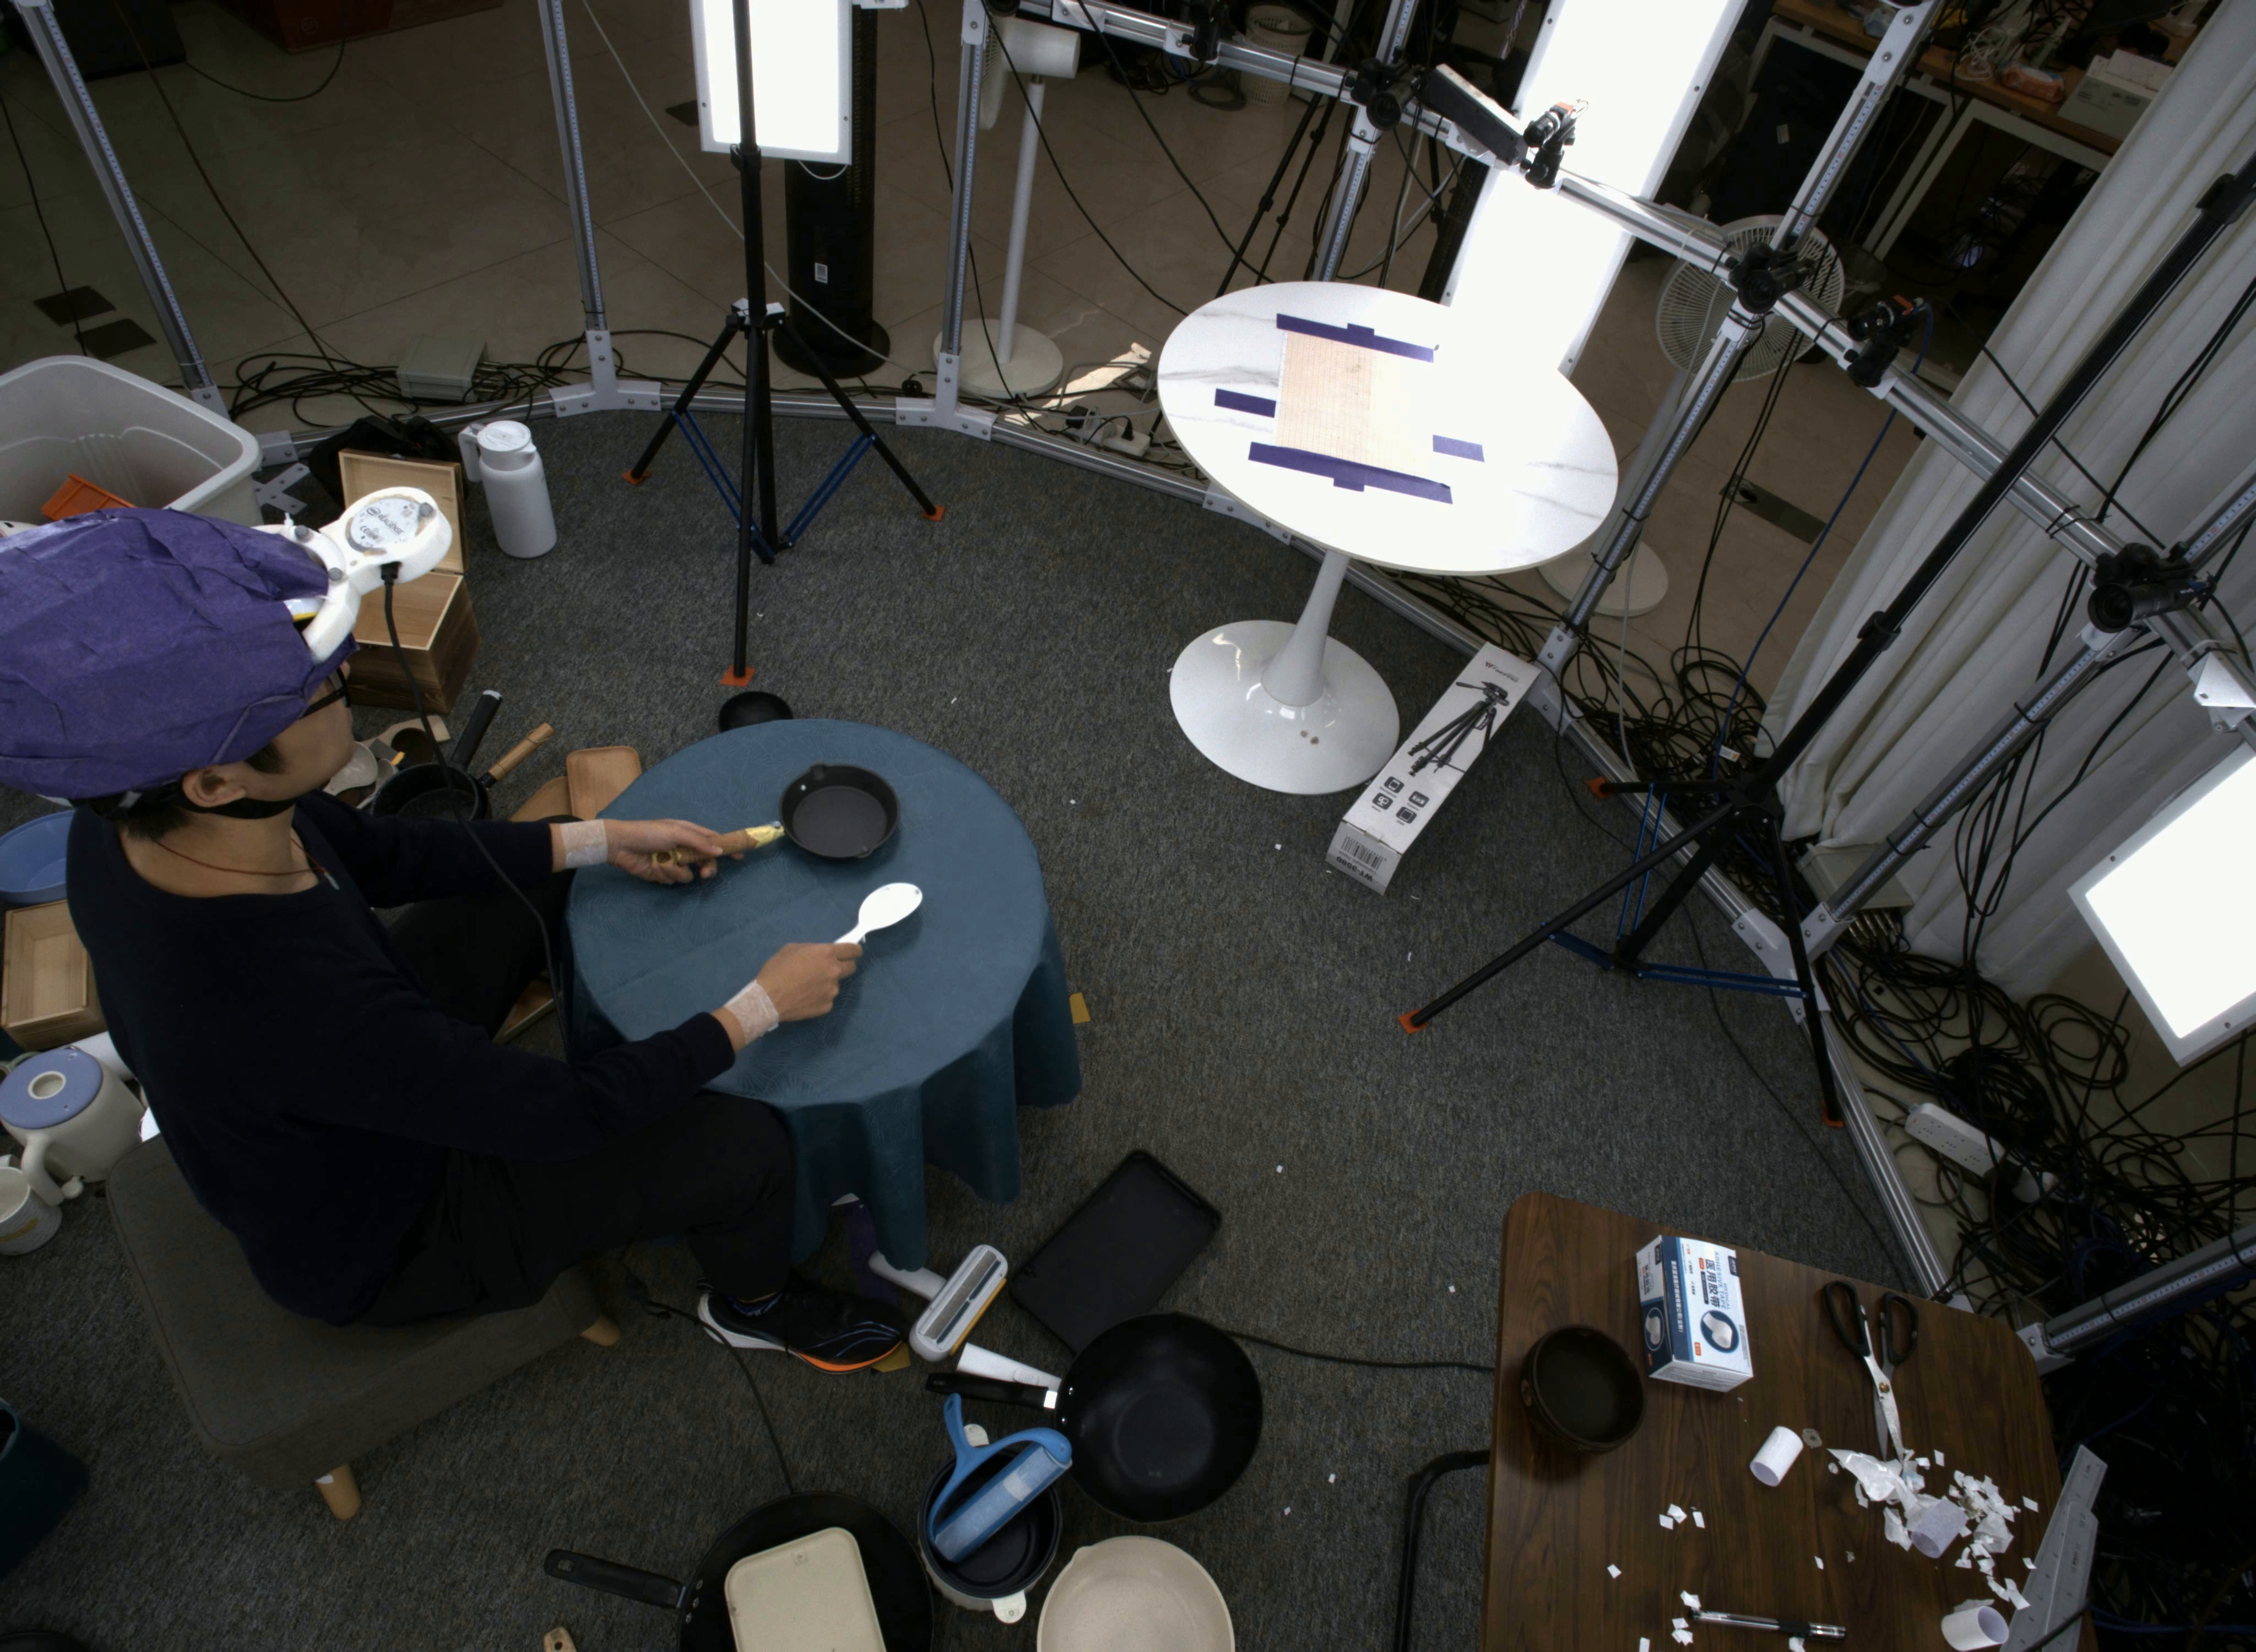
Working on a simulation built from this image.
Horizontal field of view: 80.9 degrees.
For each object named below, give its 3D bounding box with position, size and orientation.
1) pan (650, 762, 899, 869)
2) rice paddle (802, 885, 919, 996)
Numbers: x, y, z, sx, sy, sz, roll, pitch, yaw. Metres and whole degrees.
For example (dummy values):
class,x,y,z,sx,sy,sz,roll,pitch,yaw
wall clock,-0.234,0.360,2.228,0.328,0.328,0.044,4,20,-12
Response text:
class,x,y,z,sx,sy,sz,roll,pitch,yaw
pan,-0.454,0.004,1.670,0.326,0.050,0.165,-16,60,-27
rice paddle,-0.327,0.129,1.595,0.067,0.030,0.204,17,40,20
